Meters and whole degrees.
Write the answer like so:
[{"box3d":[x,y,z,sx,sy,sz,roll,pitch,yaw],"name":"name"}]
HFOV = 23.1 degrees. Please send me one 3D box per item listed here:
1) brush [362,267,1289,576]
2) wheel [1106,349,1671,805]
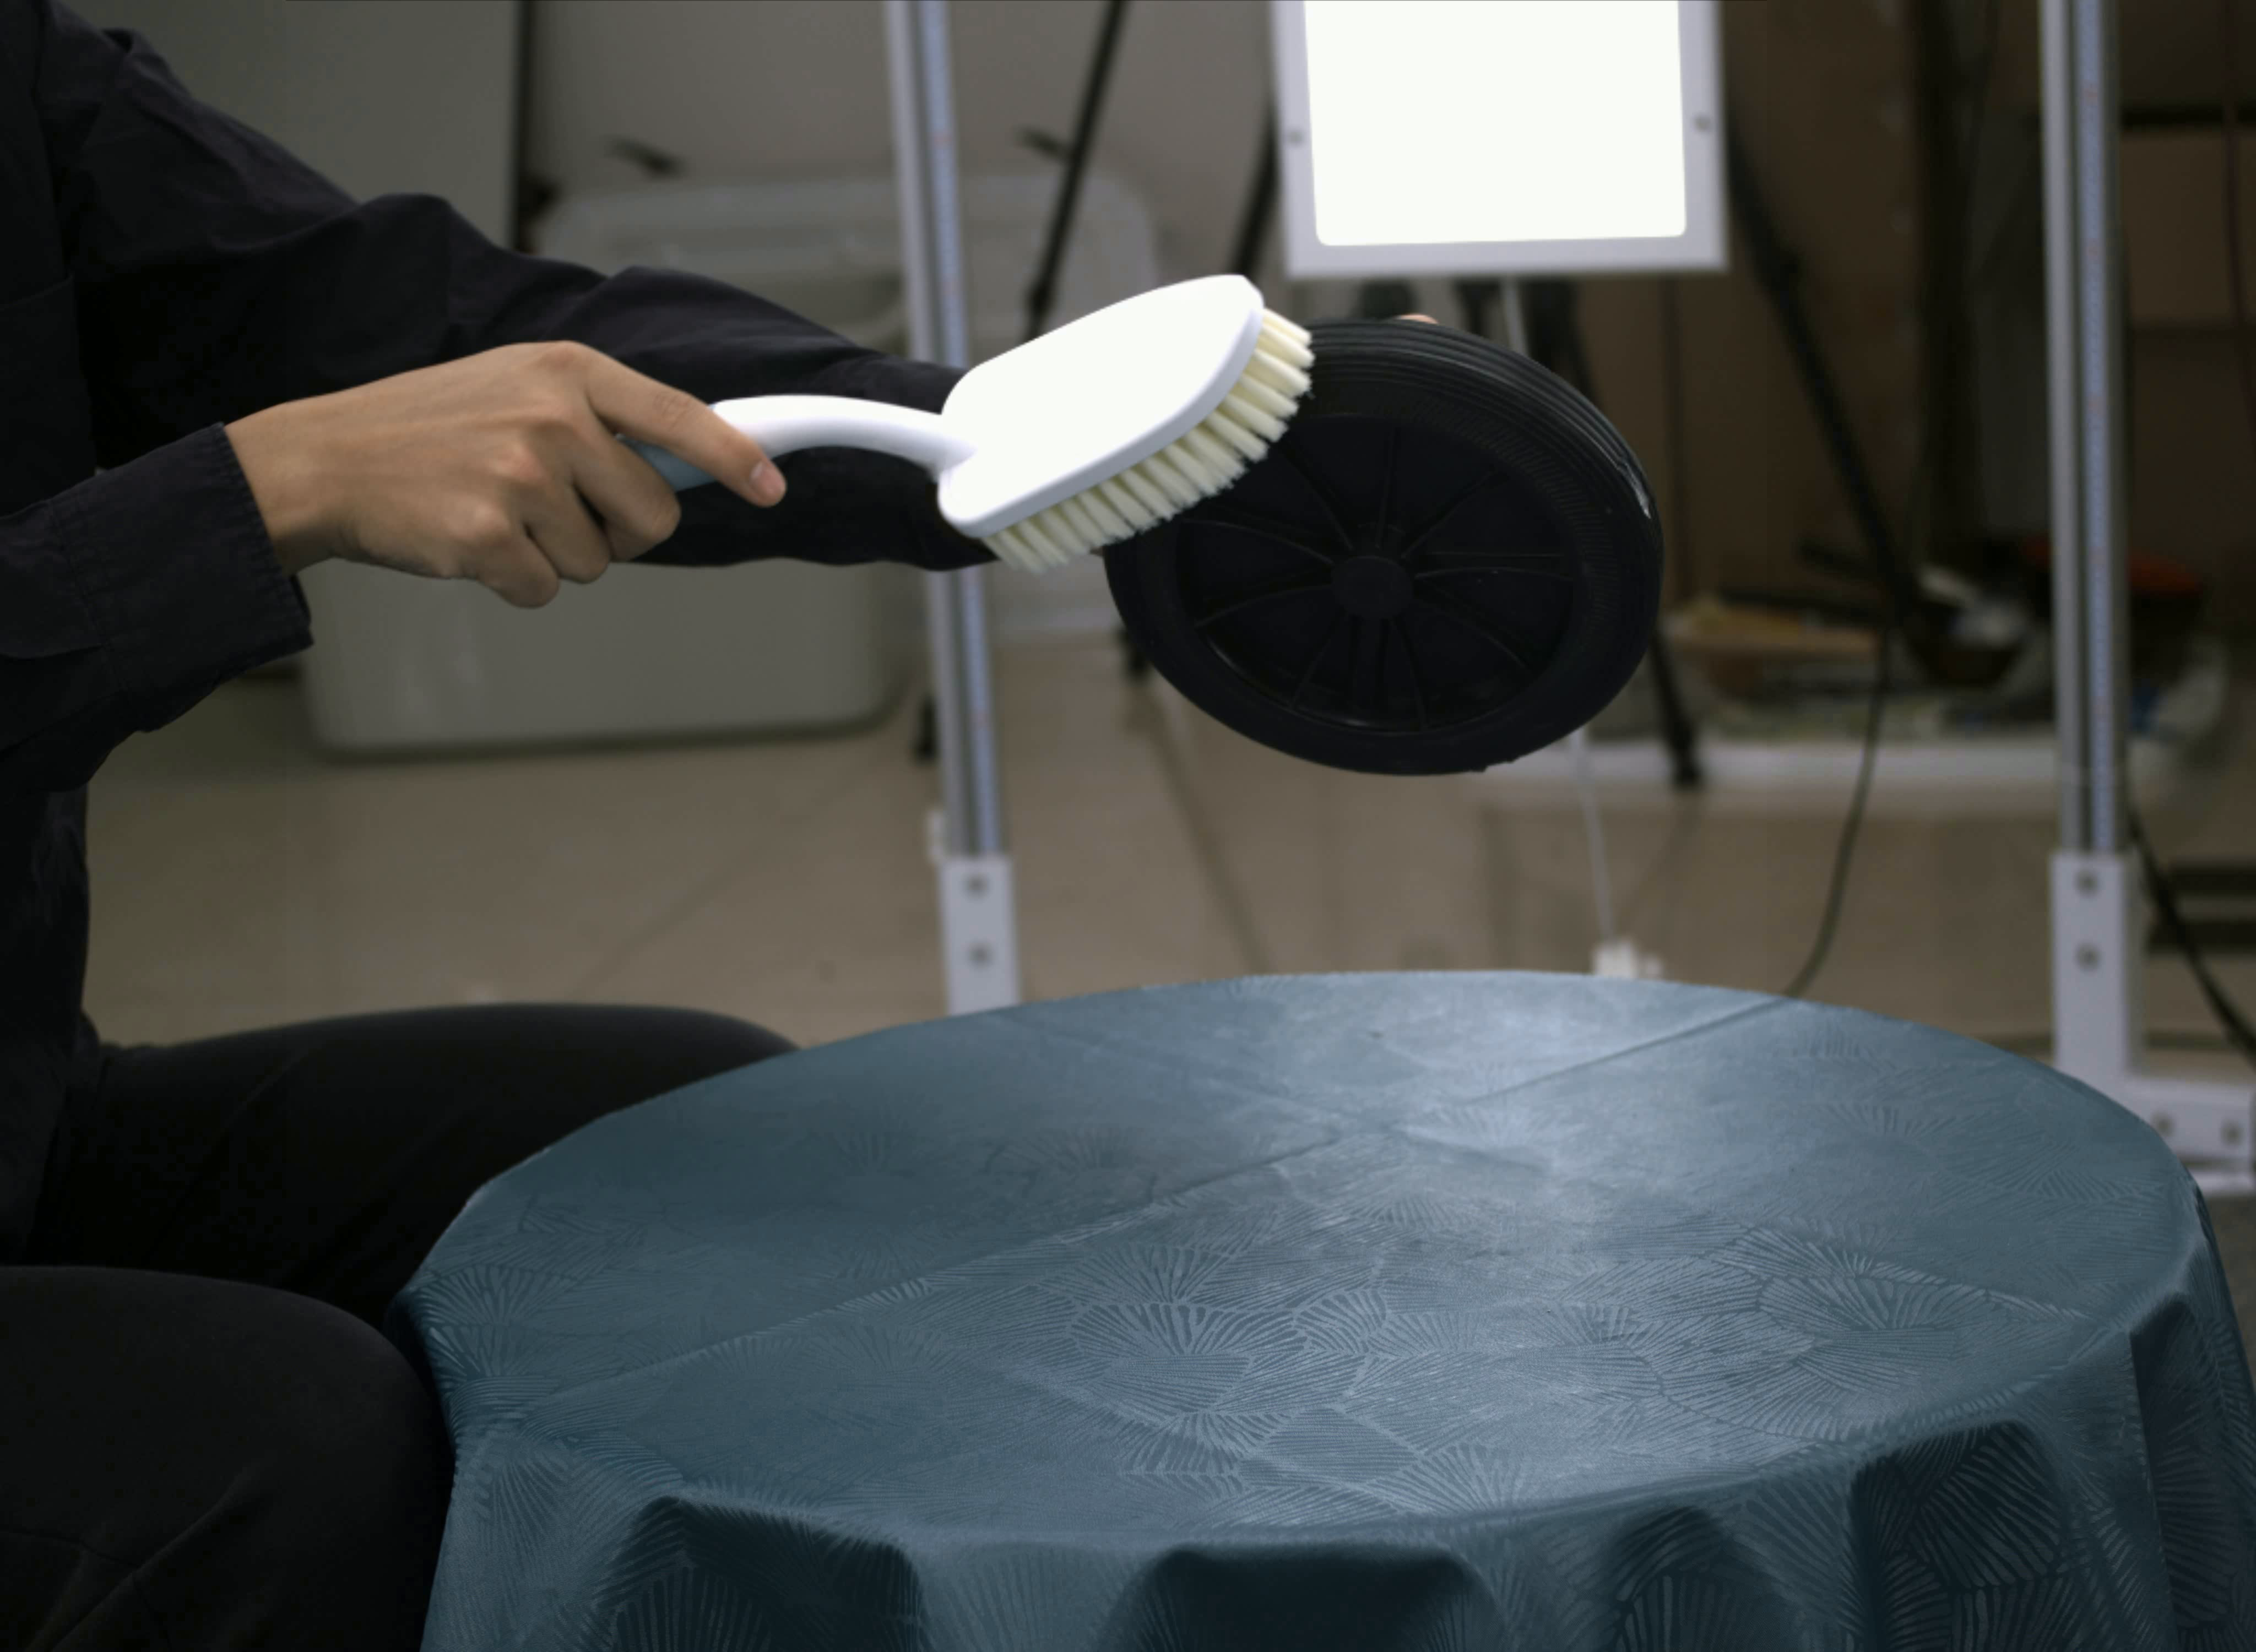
[{"box3d":[-0.096,-0.116,1.810,0.330,0.084,0.082,-14,17,20],"name":"brush"},{"box3d":[0.090,-0.096,1.852,0.190,0.189,0.078,9,45,4],"name":"wheel"}]
